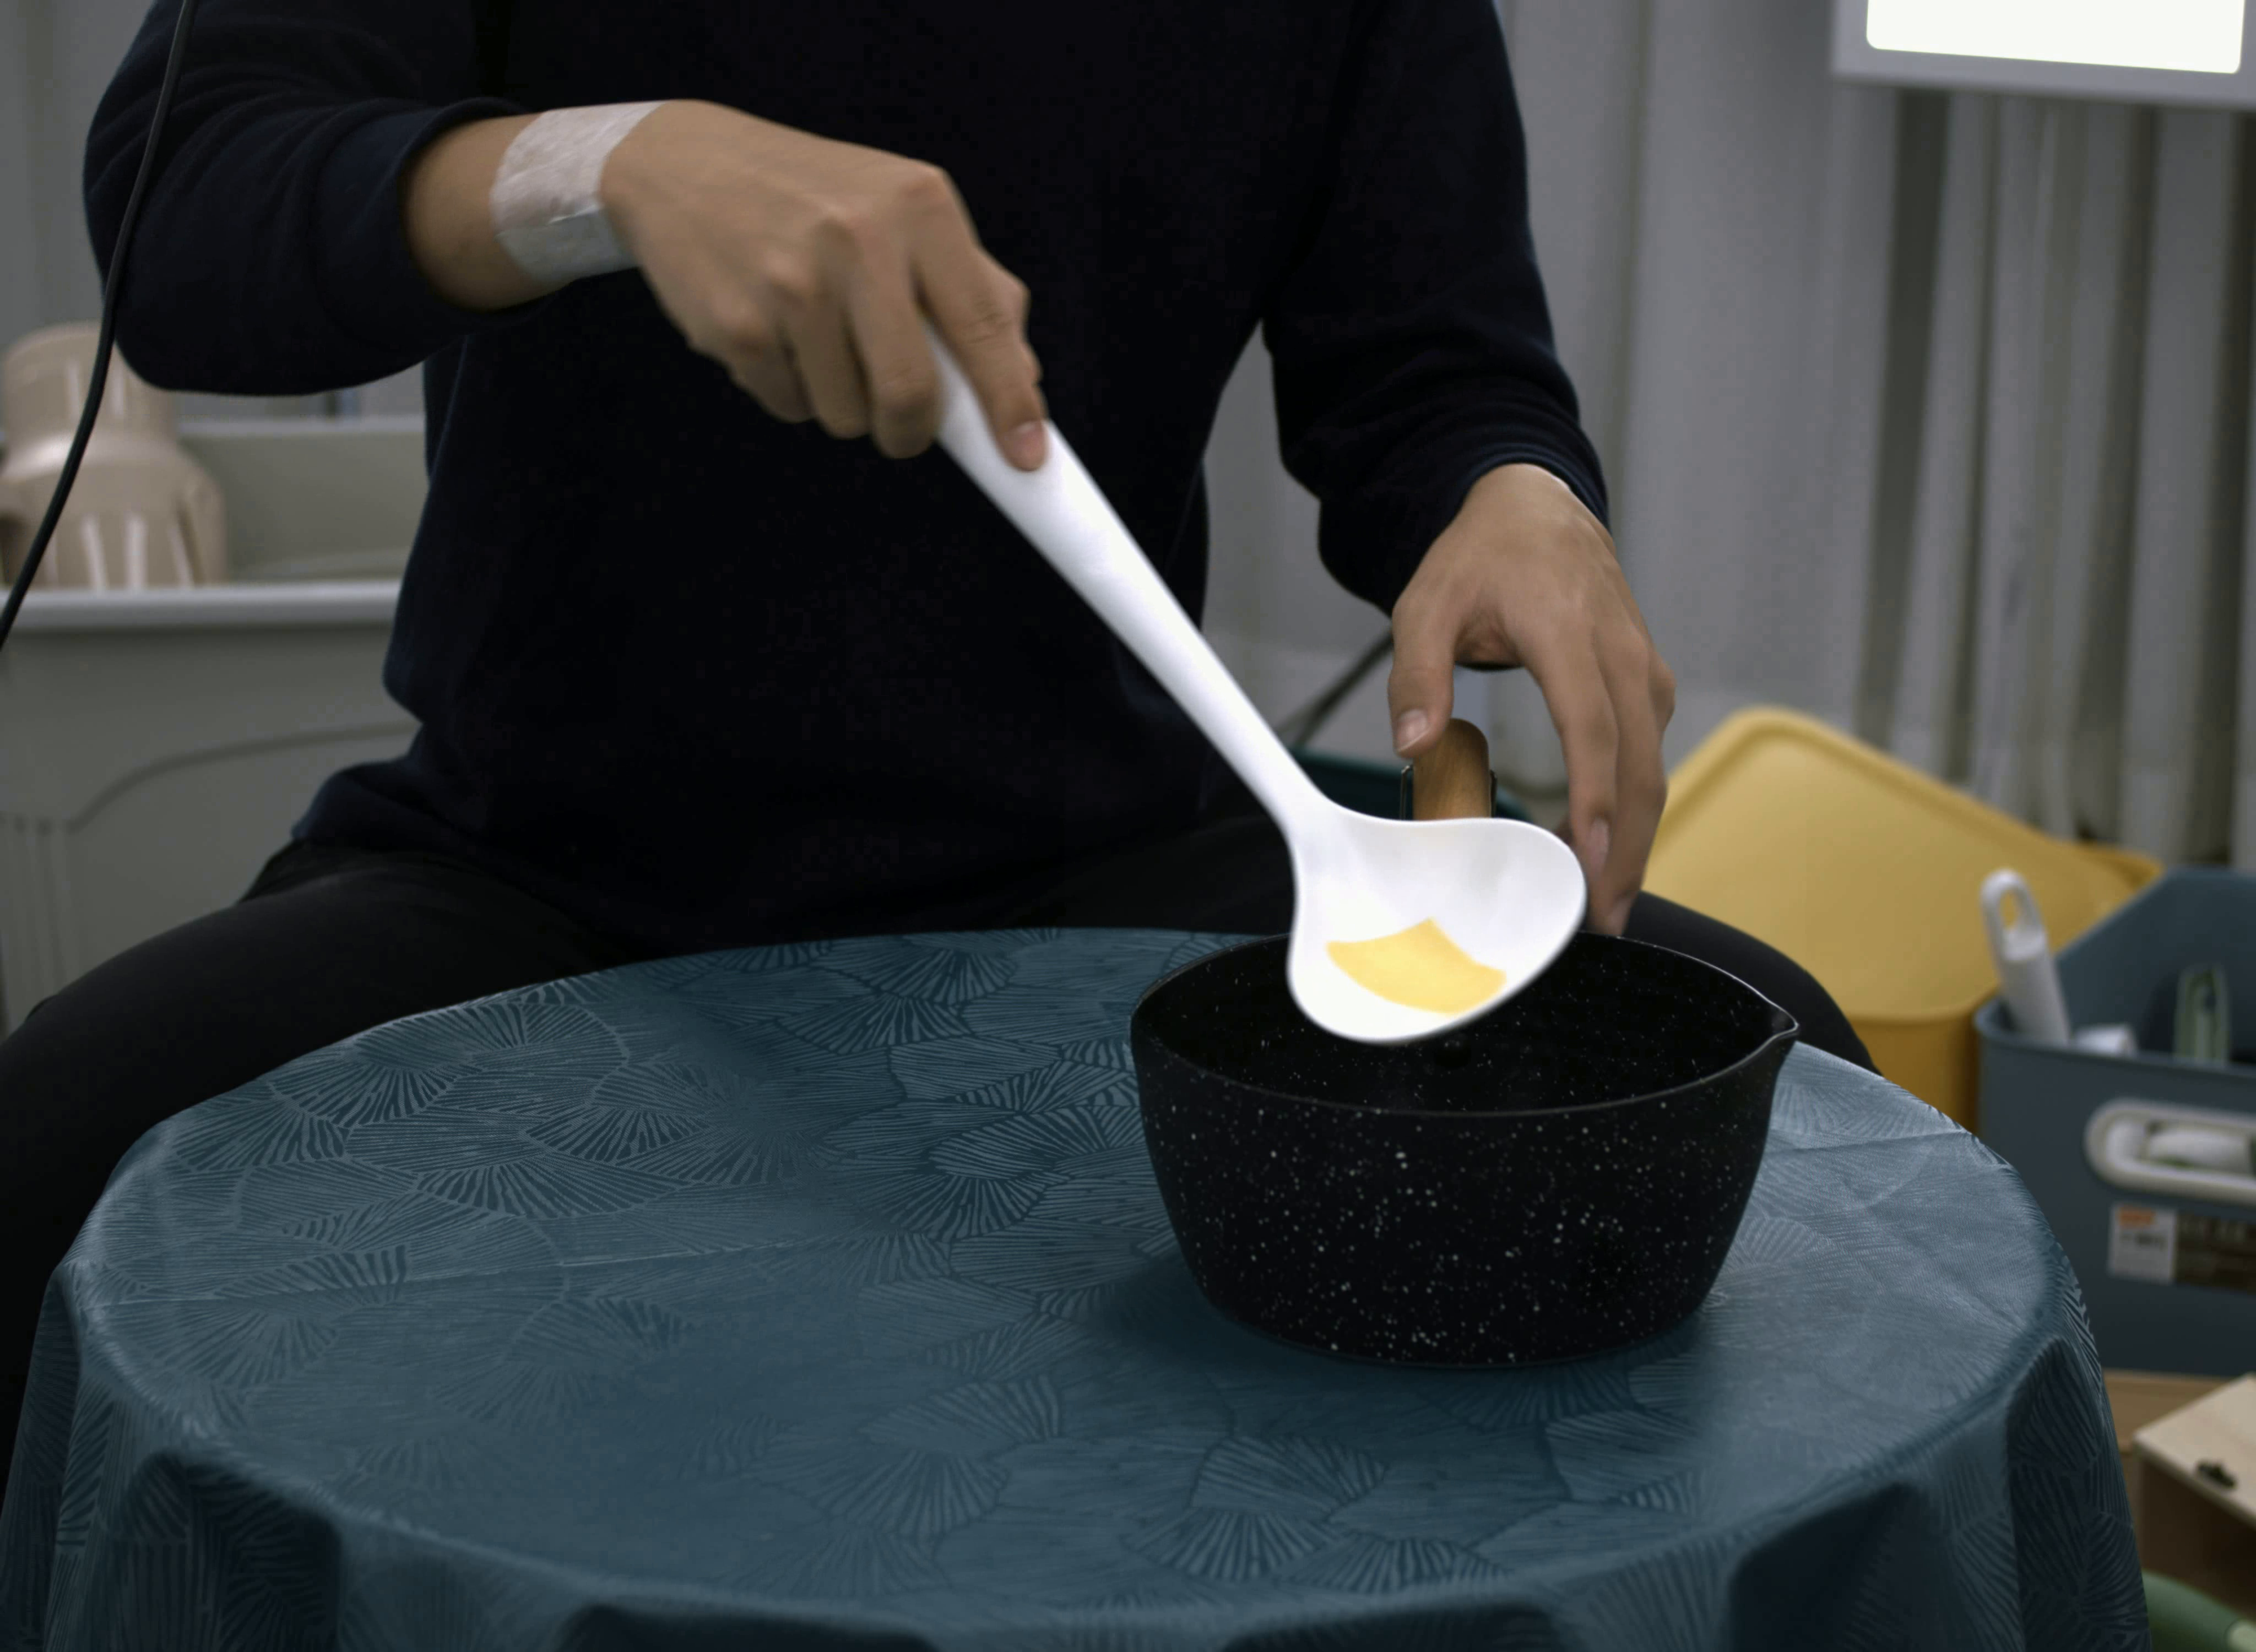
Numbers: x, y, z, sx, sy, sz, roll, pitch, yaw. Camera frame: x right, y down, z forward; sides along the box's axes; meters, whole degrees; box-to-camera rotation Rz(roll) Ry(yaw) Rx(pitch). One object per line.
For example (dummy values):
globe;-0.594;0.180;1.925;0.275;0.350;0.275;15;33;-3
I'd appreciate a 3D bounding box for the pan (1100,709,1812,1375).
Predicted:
pan;0.097;0.061;1.609;0.207;0.109;0.341;0;17;2

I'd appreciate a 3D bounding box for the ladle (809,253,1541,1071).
ladle;0.005;-0.052;1.505;0.090;0.292;0.070;-37;-10;-5
